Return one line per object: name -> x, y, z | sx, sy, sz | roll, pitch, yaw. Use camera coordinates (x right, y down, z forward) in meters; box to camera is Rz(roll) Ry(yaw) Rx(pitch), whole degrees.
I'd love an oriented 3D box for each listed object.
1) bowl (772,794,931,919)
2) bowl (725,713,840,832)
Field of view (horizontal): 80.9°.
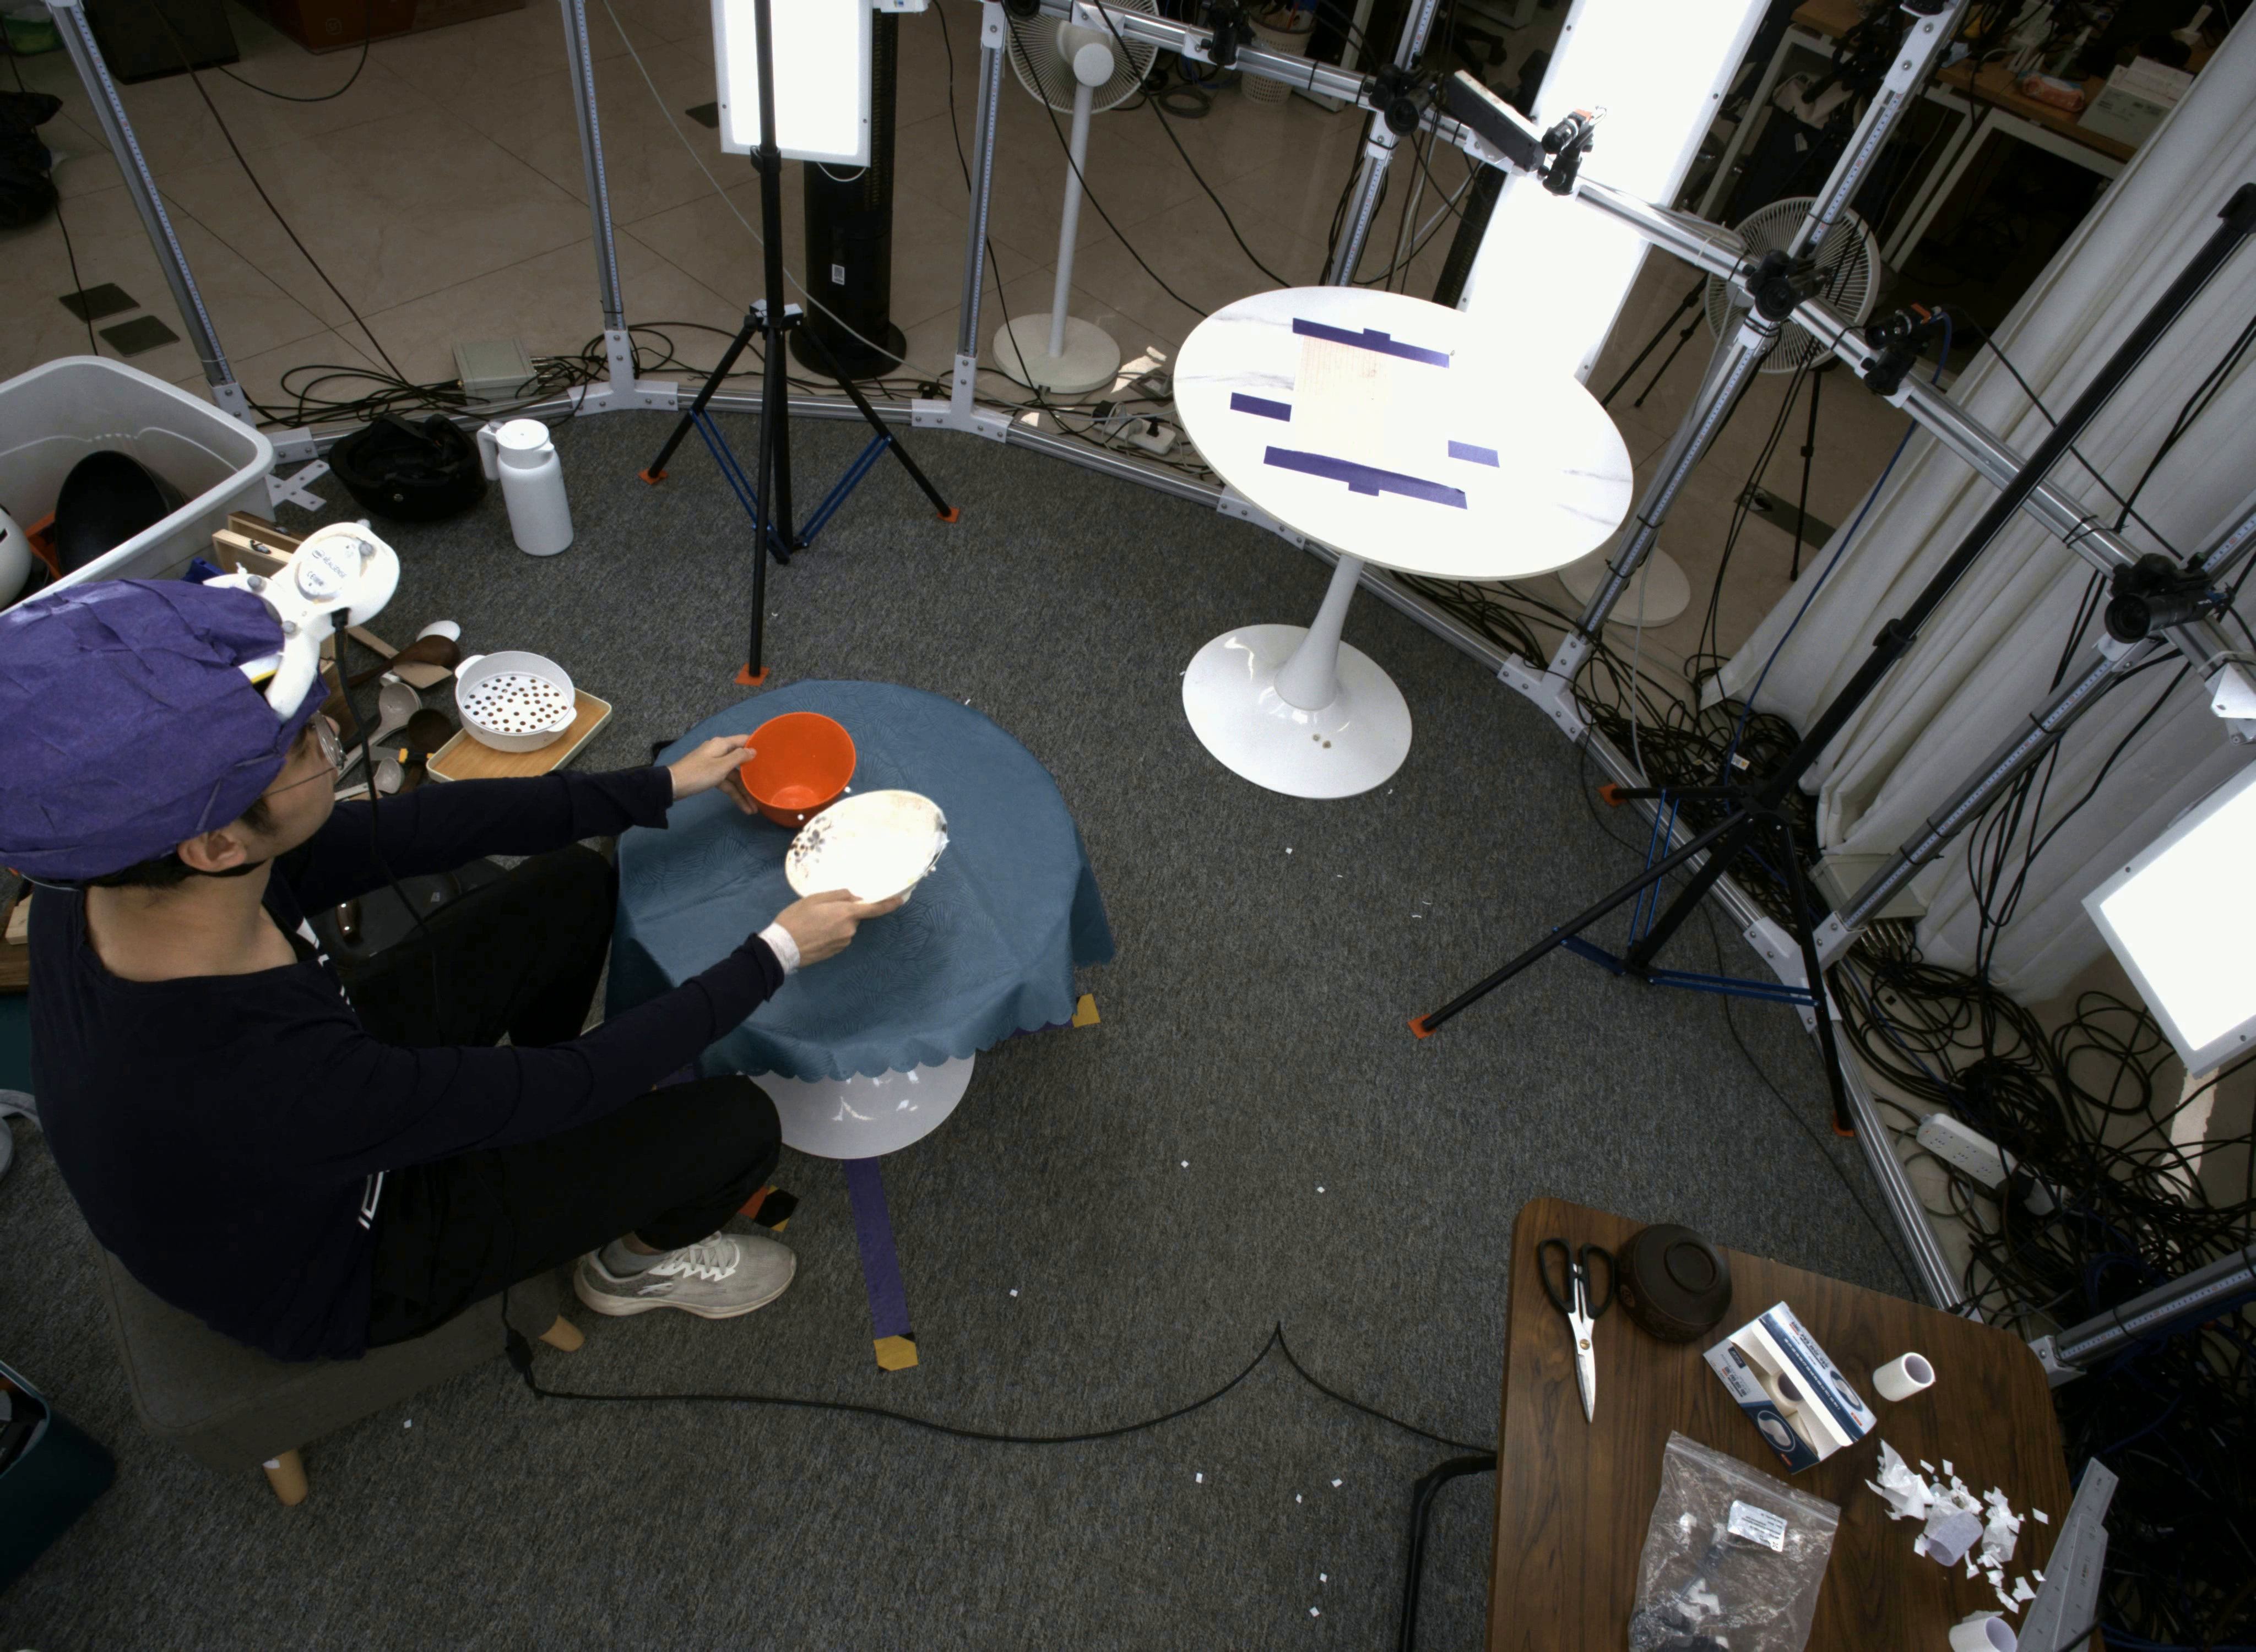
bowl -> -0.331, 0.054, 1.609 | 0.200, 0.081, 0.200 | -7, 43, 8
bowl -> -0.452, -0.058, 1.707 | 0.147, 0.107, 0.145 | 6, 54, -7
